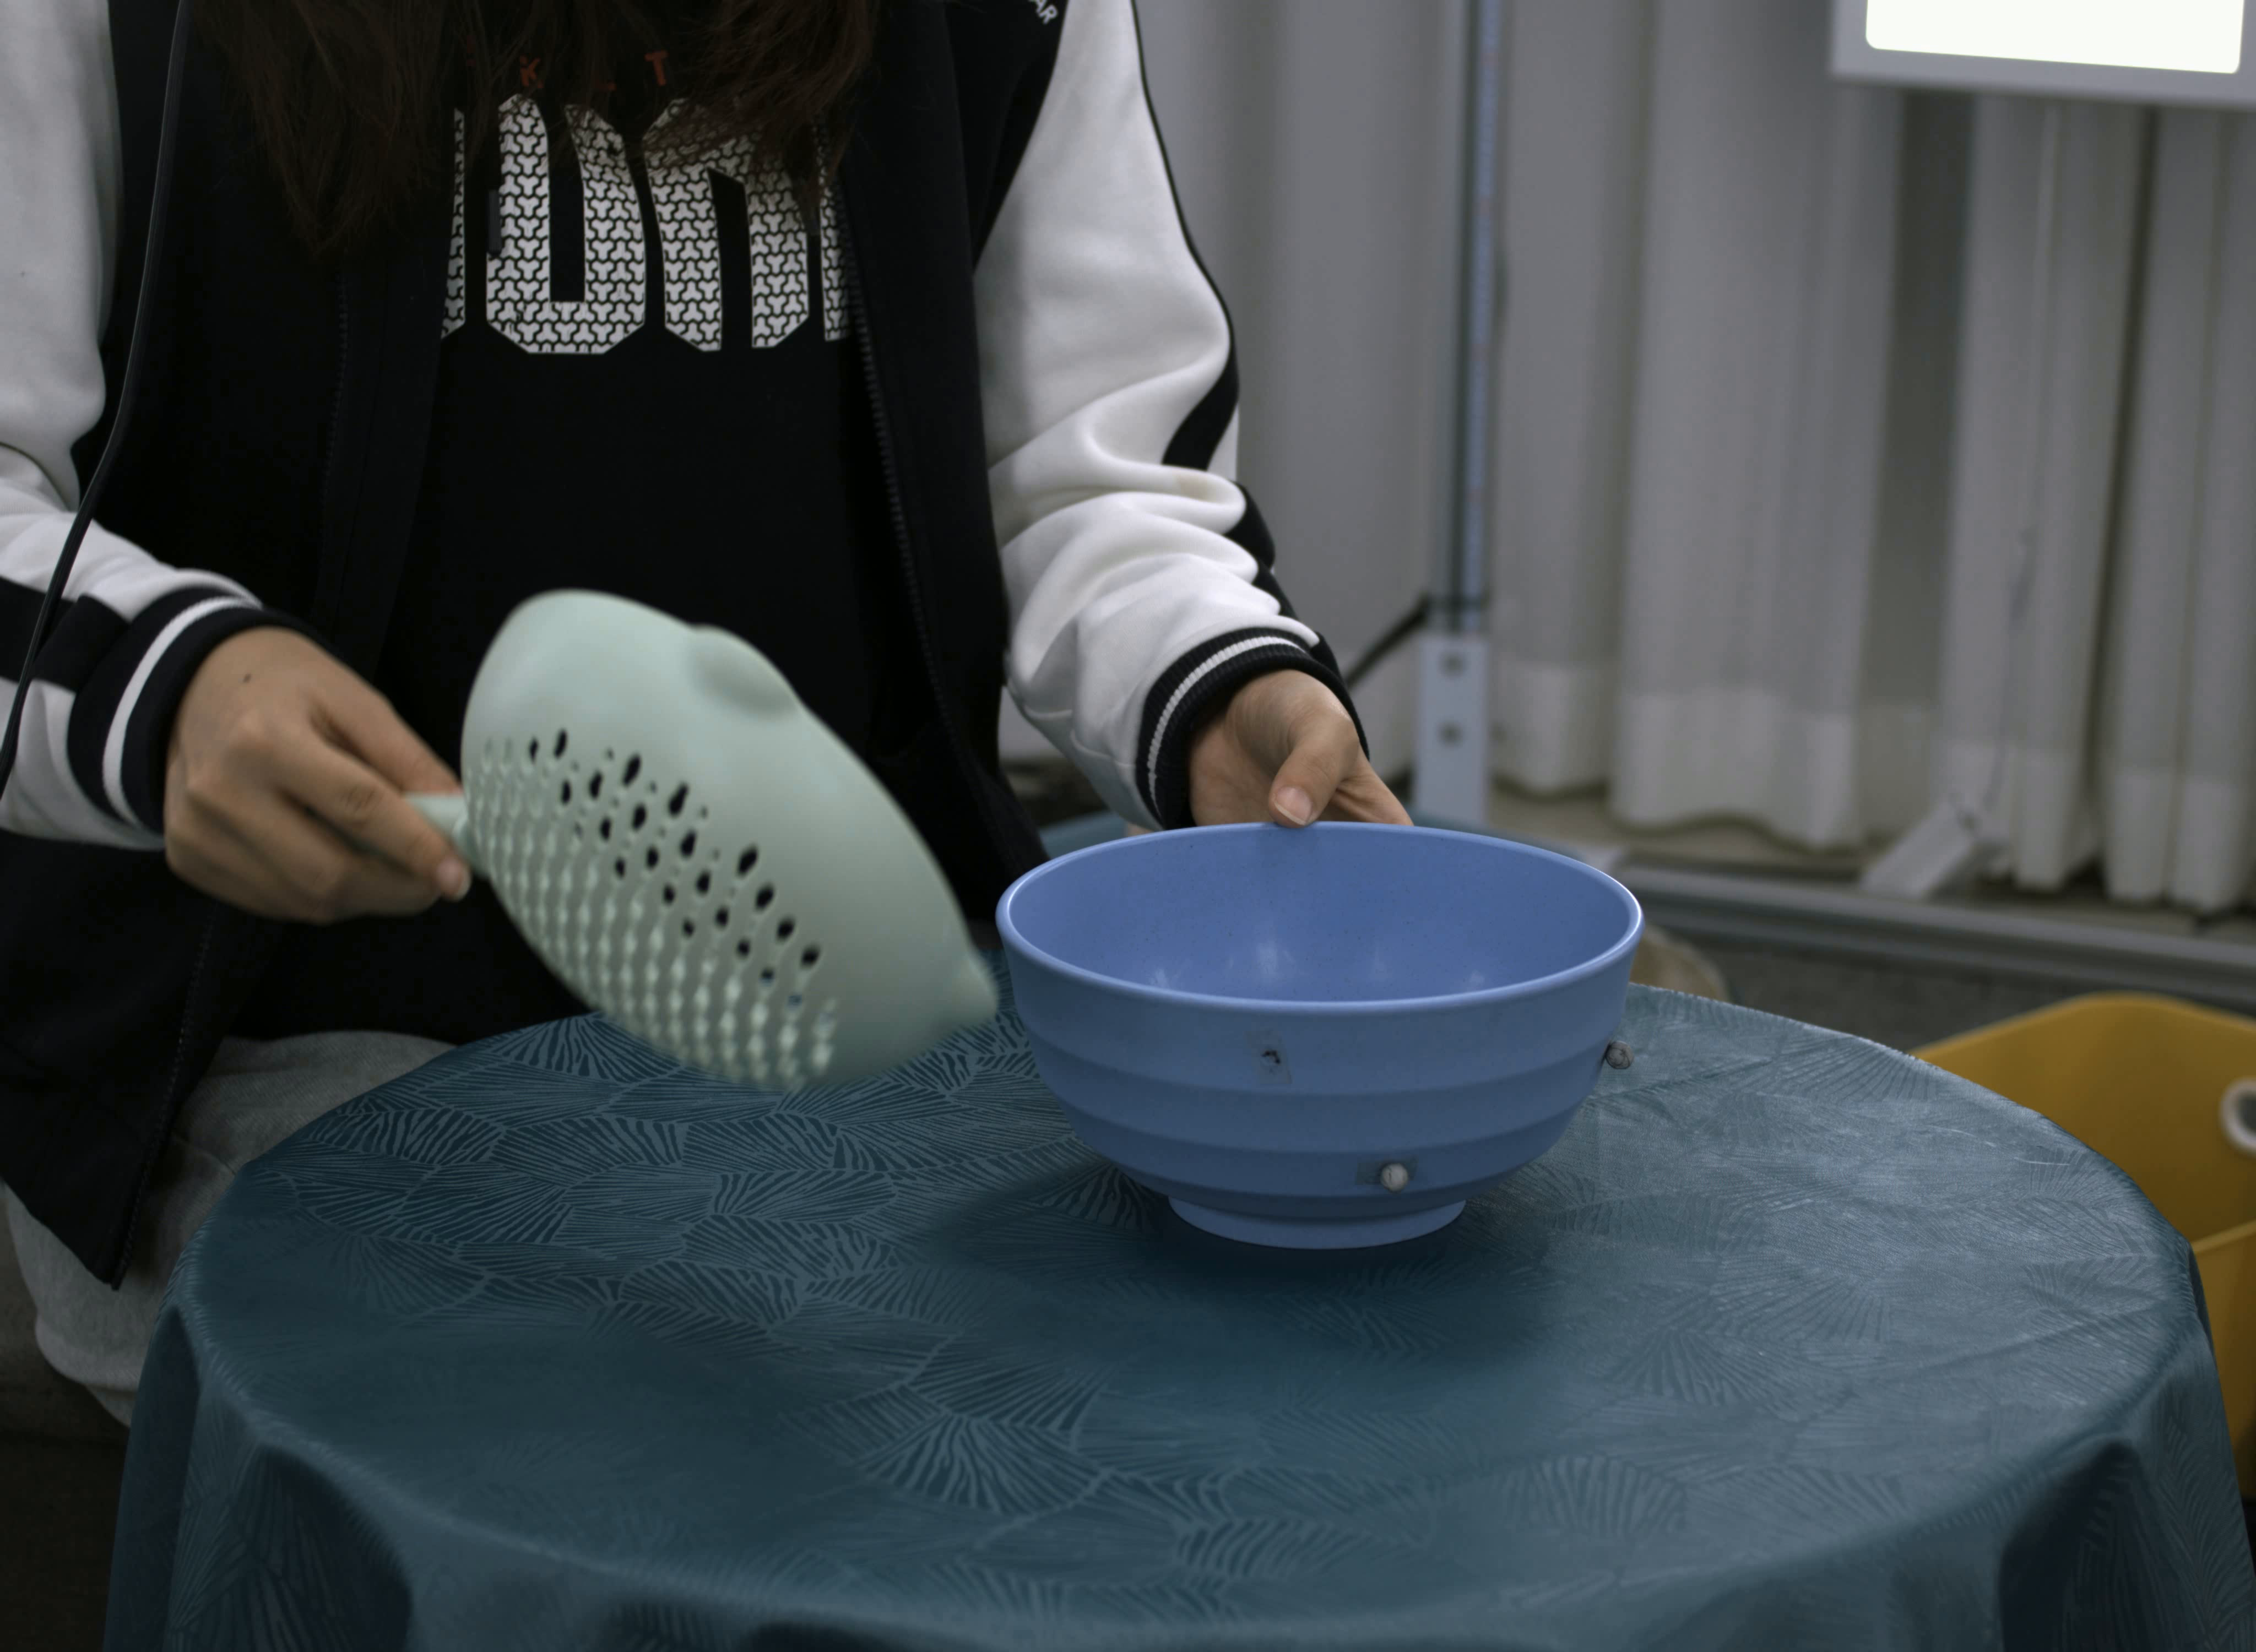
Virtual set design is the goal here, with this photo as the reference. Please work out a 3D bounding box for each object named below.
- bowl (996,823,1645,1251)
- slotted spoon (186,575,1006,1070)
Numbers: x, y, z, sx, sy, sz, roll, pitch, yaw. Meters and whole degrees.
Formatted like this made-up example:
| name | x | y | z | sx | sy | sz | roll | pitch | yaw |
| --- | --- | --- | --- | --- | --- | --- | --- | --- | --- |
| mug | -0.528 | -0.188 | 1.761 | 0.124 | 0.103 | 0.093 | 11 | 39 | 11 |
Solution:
| name | x | y | z | sx | sy | sz | roll | pitch | yaw |
| --- | --- | --- | --- | --- | --- | --- | --- | --- | --- |
| bowl | 0.058 | 0.069 | 1.601 | 0.196 | 0.096 | 0.195 | 0 | 16 | 1 |
| slotted spoon | -0.176 | 0.001 | 1.520 | 0.075 | 0.171 | 0.354 | -45 | 27 | -20 |
